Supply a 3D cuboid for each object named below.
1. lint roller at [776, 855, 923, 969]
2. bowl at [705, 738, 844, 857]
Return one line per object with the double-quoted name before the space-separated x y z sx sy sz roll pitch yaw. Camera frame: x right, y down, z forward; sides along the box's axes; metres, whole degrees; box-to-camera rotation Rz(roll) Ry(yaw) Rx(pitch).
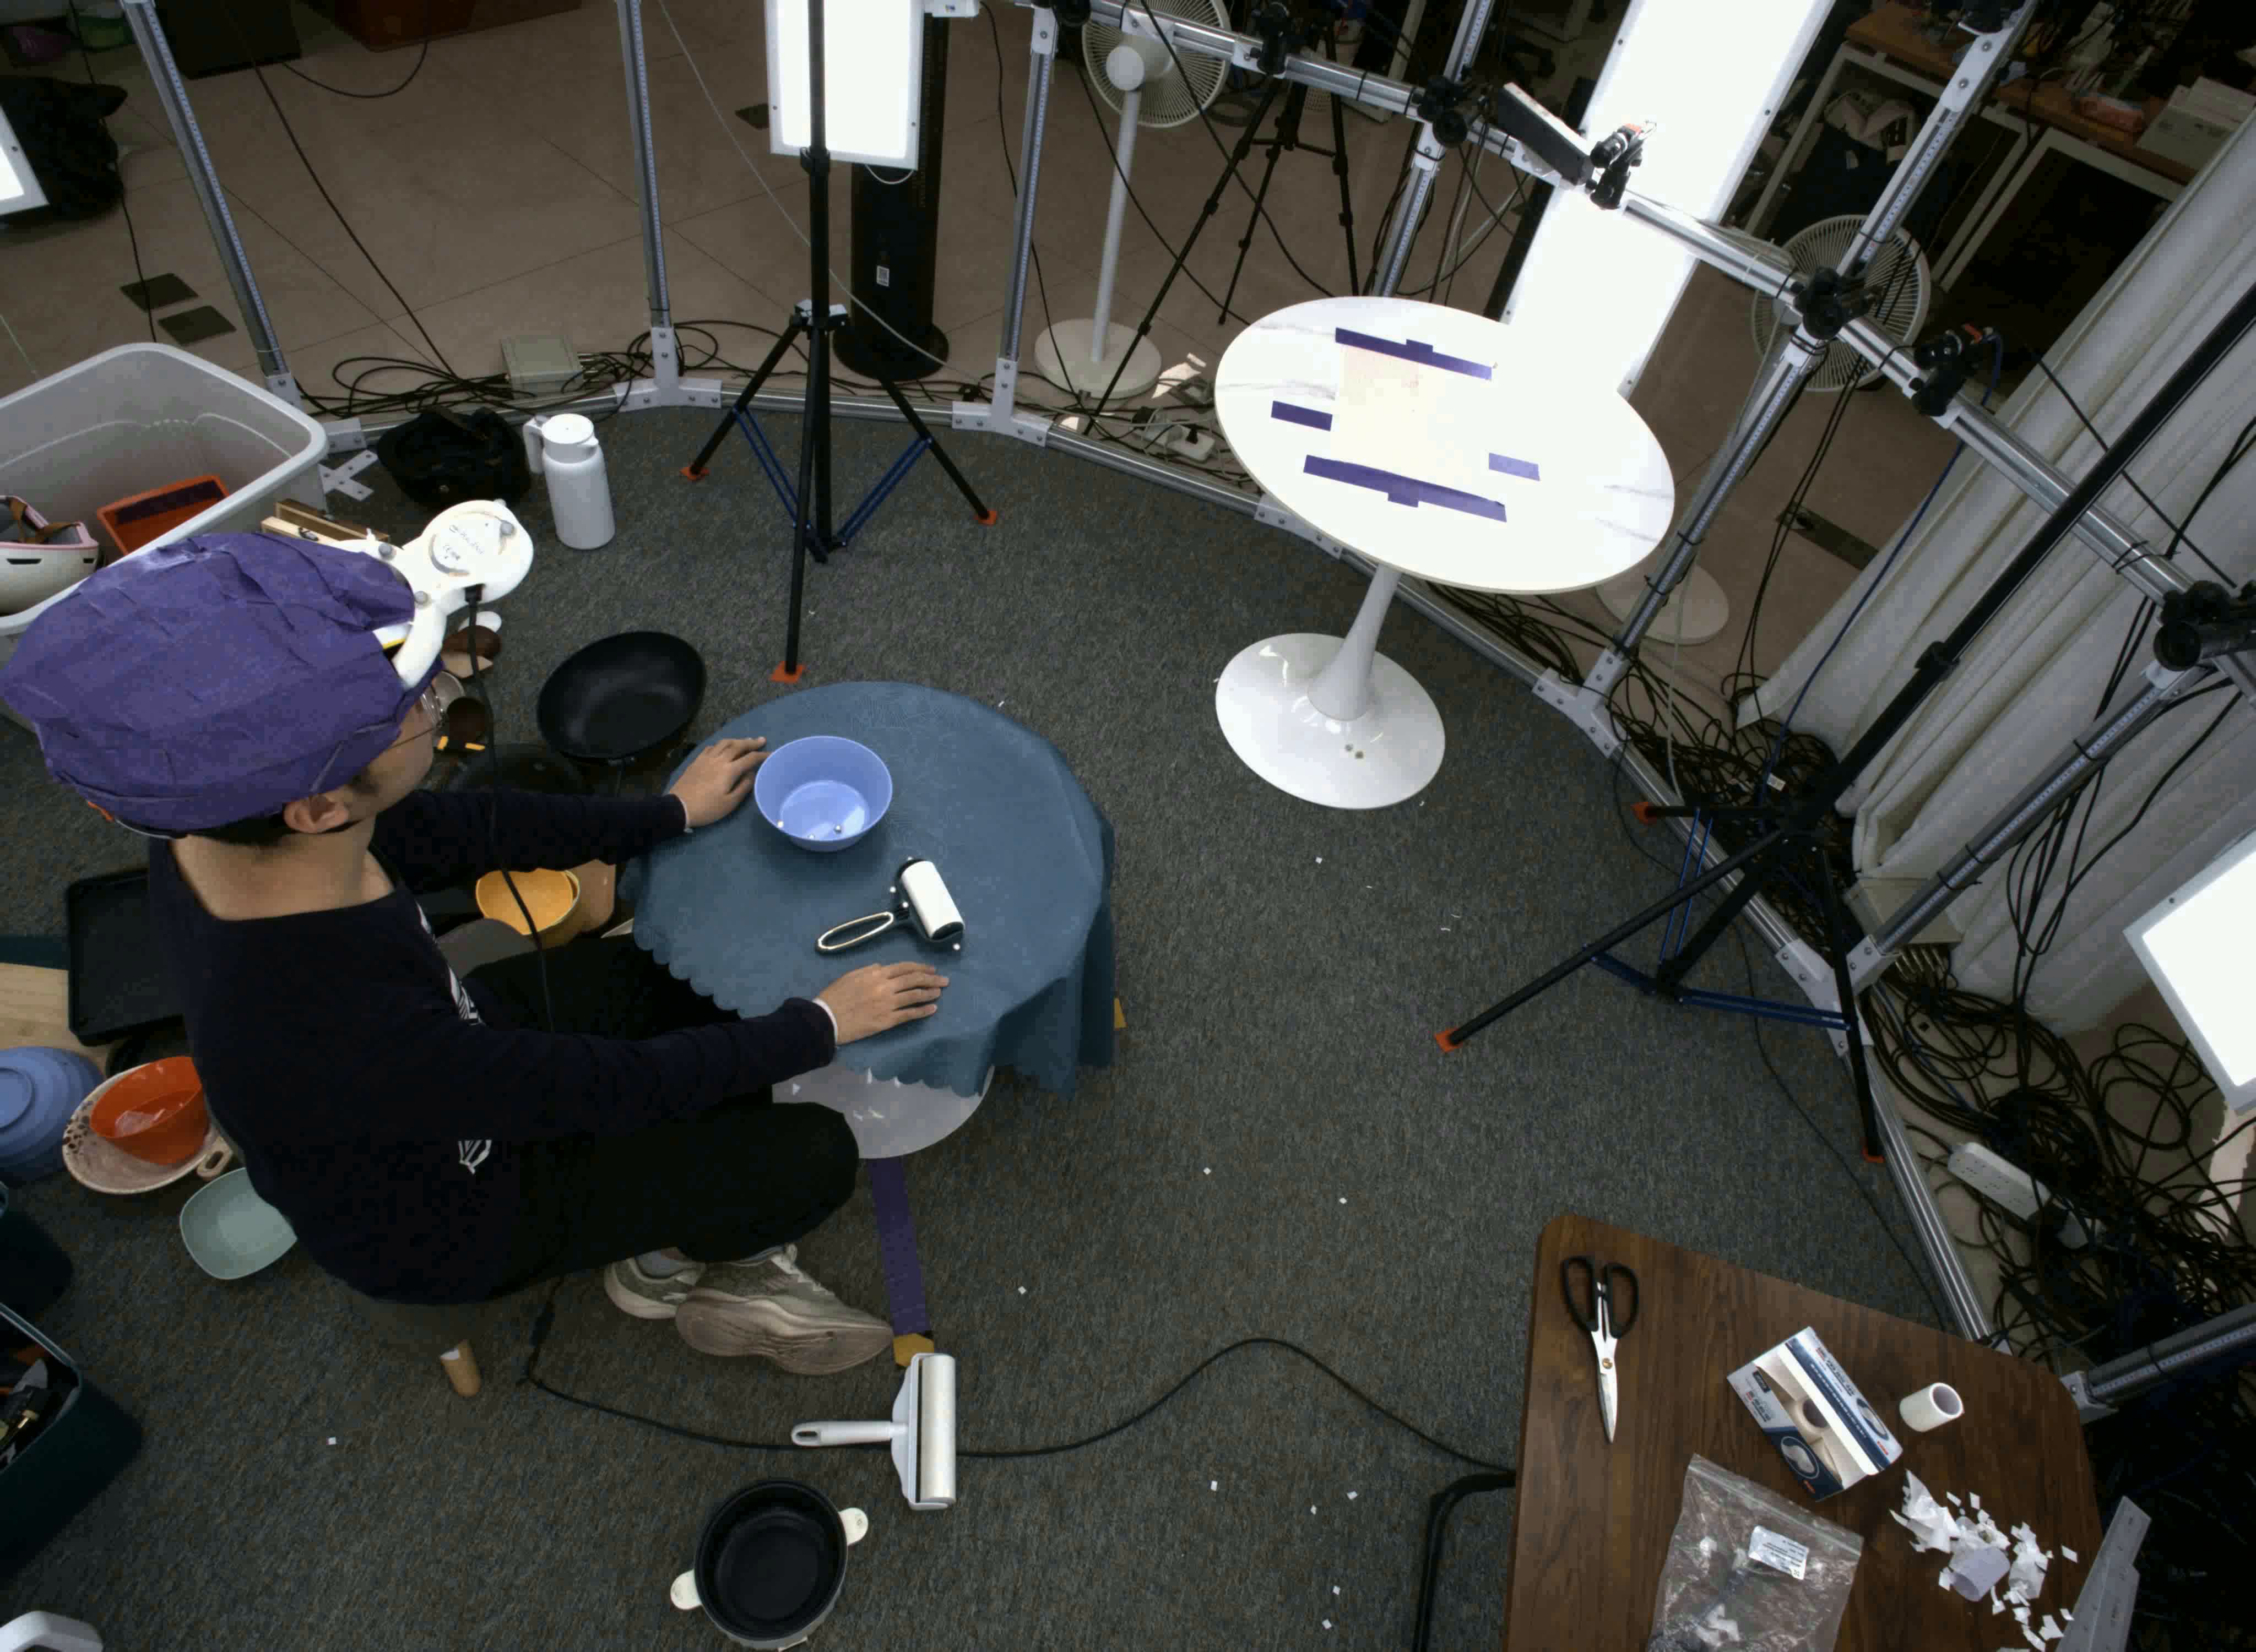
"lint roller" -0.361 0.123 1.635 0.180 0.049 0.131 -24 62 -24
"bowl" -0.461 -0.027 1.699 0.176 0.072 0.173 8 53 -8
